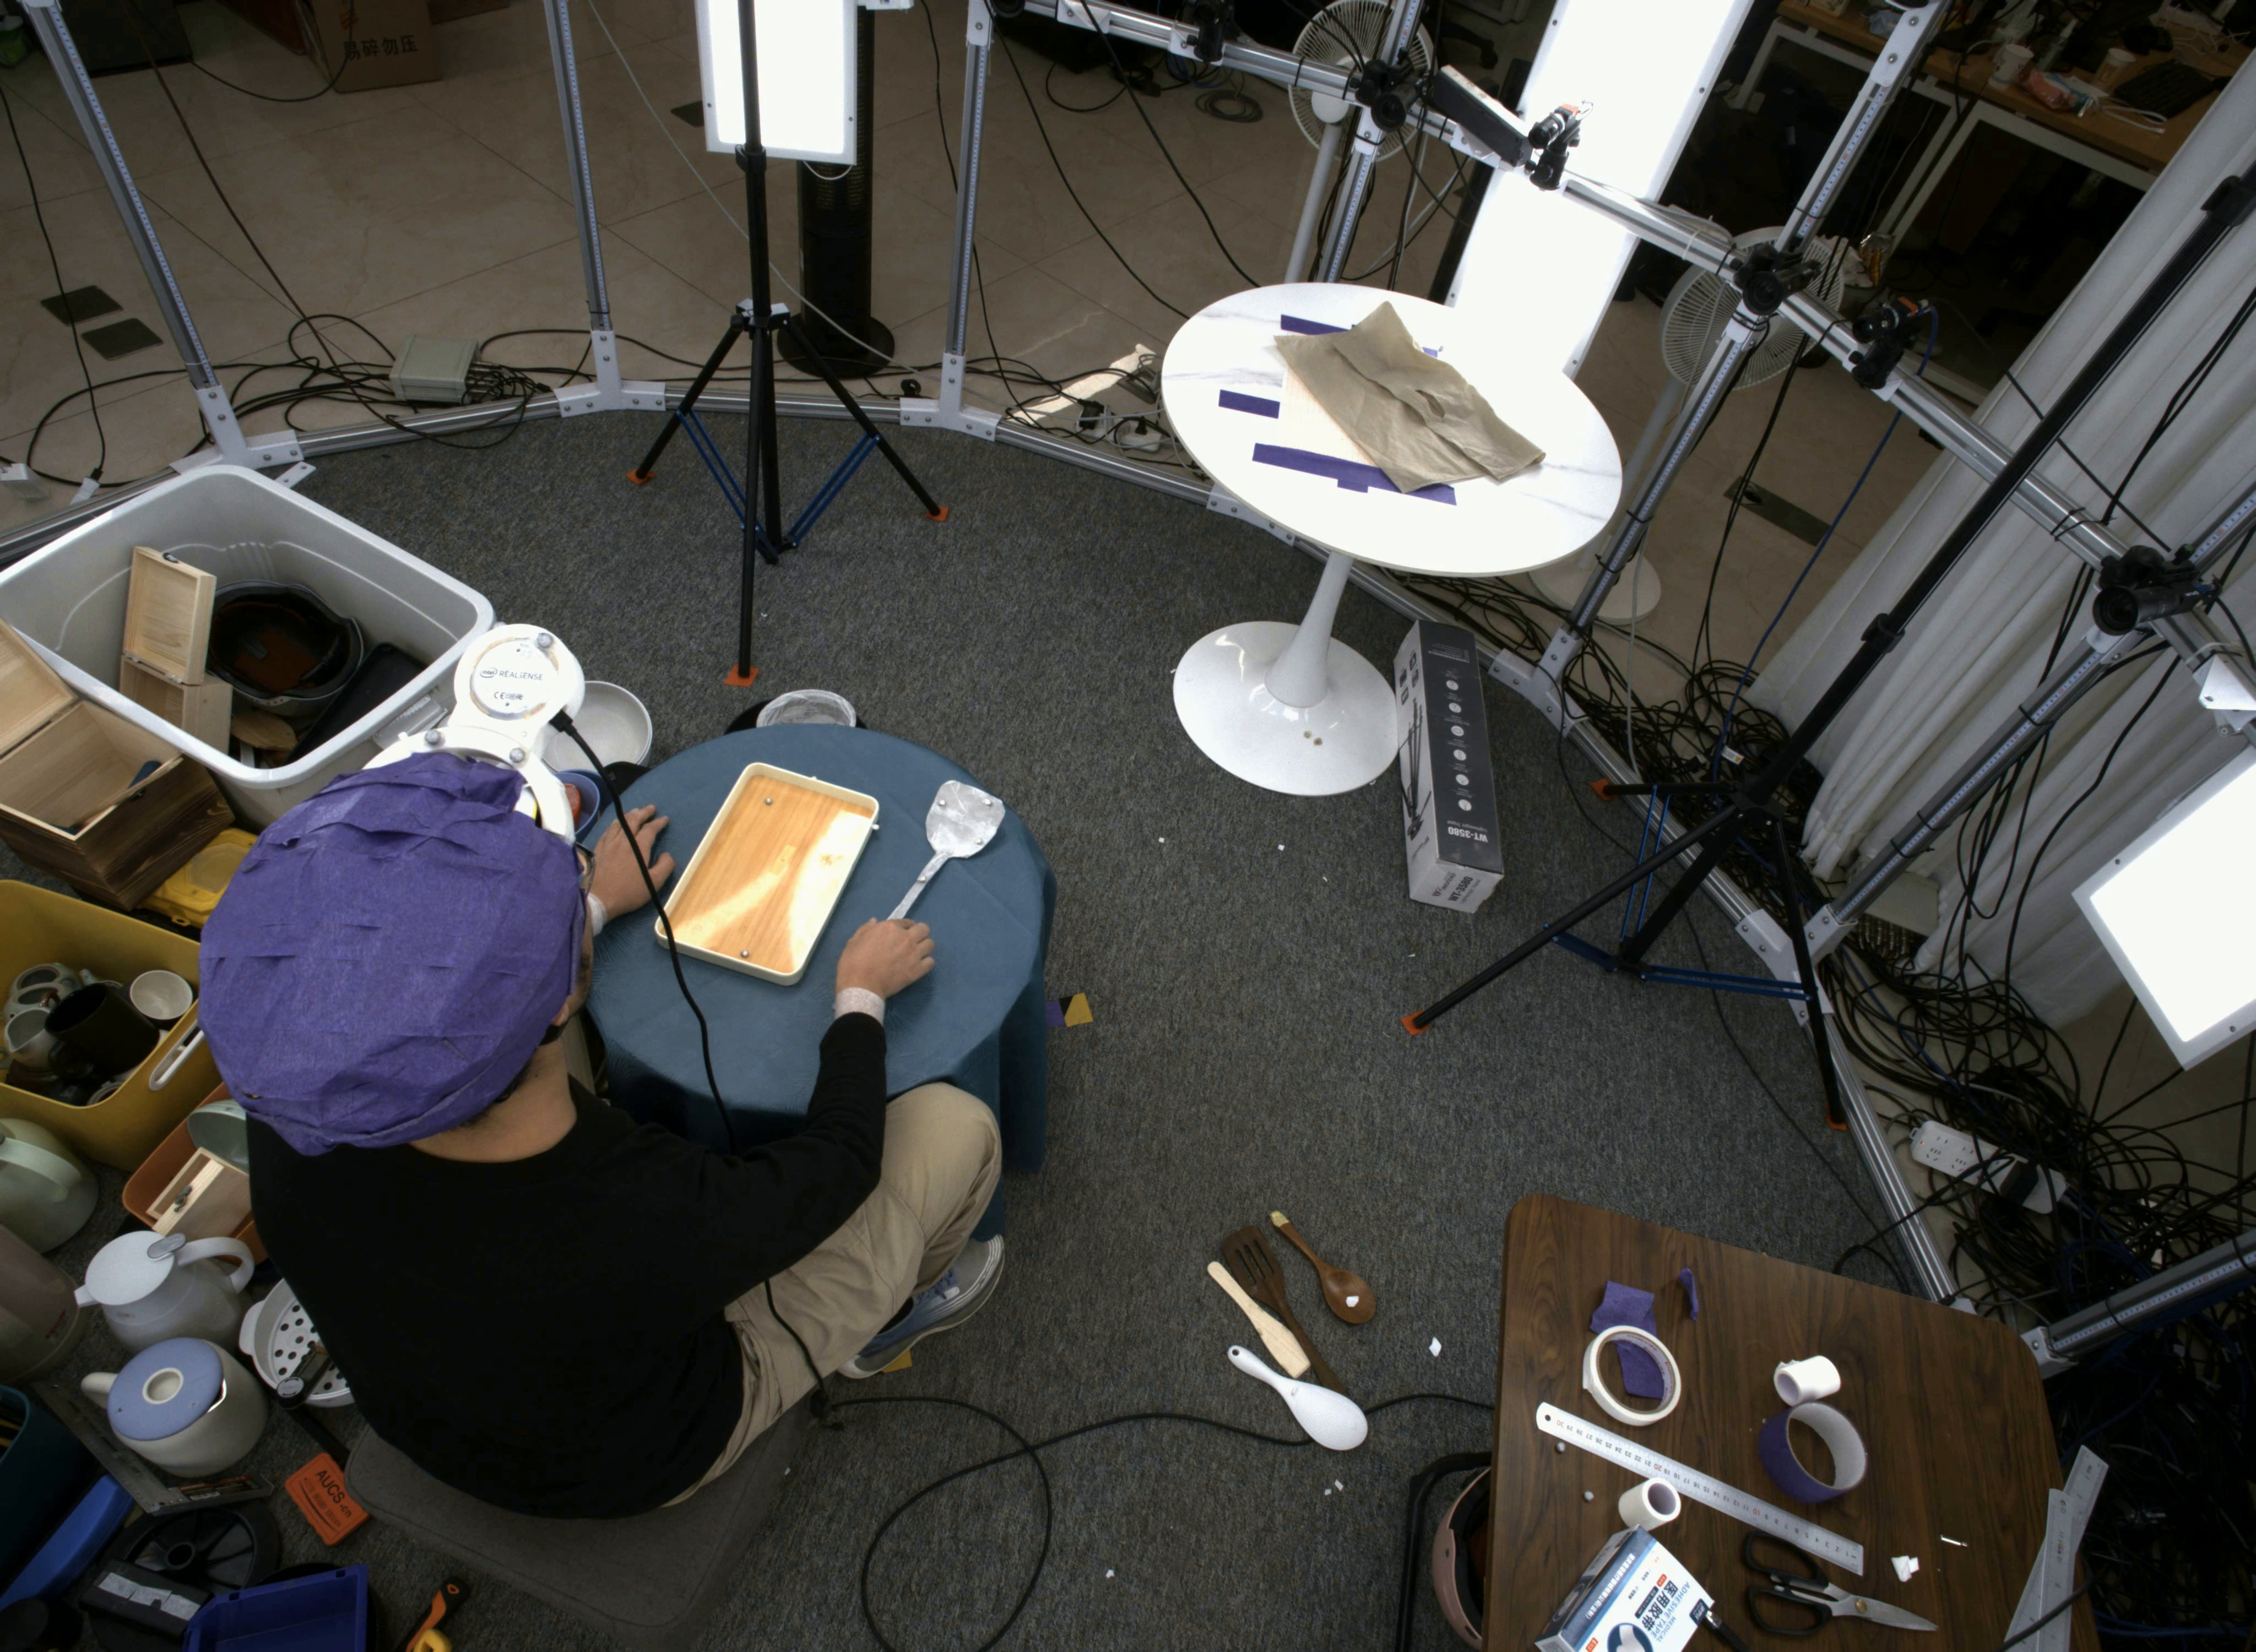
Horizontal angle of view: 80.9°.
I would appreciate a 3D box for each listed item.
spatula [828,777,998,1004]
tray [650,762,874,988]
[{"bbox_3d":[-0.283,0.081,1.671,0.097,0.045,0.362,25,52,5],"label":"spatula"},{"bbox_3d":[-0.461,0.054,1.651,0.190,0.028,0.297,18,52,-1],"label":"tray"}]
